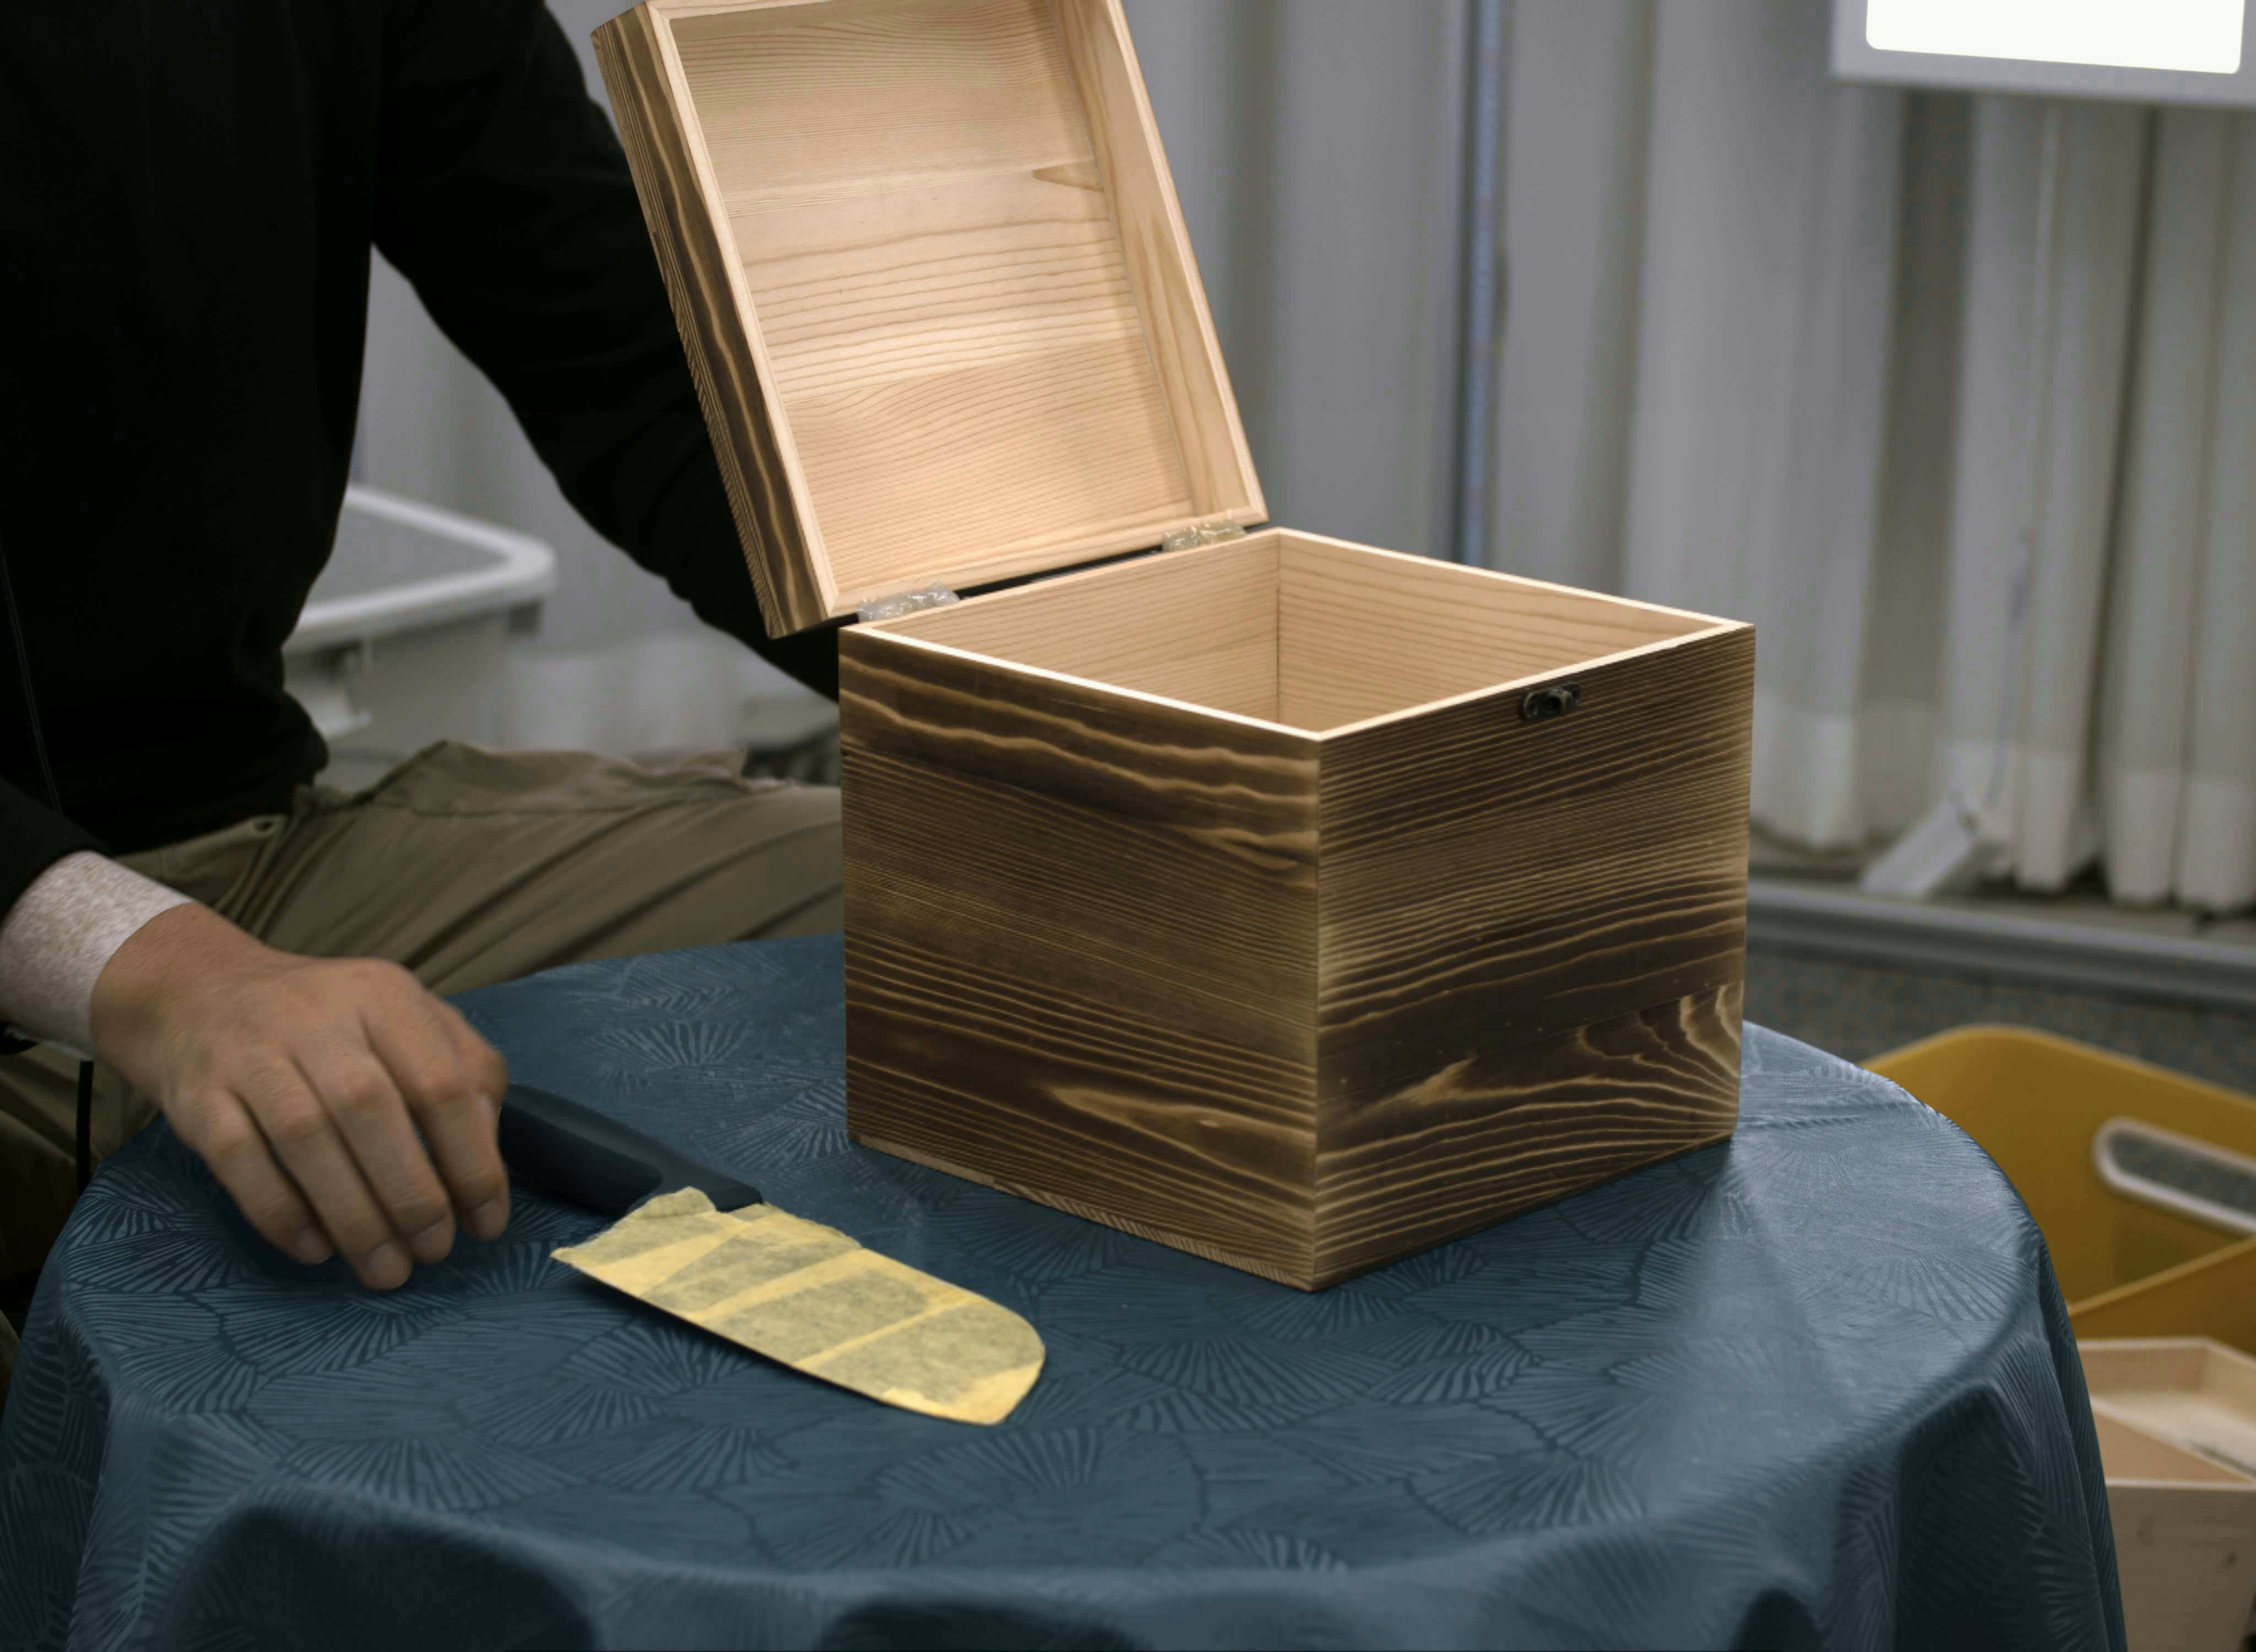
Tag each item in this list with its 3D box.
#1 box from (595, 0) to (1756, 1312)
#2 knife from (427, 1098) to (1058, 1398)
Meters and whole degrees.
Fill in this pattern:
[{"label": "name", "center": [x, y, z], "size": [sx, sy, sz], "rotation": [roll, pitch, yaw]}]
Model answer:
[{"label": "box", "center": [0.014, -0.082, 1.649], "size": [0.318, 0.378, 0.209], "rotation": [14, 22, 42]}, {"label": "knife", "center": [-0.124, 0.125, 1.545], "size": [0.081, 0.027, 0.285], "rotation": [-11, 20, -42]}]
